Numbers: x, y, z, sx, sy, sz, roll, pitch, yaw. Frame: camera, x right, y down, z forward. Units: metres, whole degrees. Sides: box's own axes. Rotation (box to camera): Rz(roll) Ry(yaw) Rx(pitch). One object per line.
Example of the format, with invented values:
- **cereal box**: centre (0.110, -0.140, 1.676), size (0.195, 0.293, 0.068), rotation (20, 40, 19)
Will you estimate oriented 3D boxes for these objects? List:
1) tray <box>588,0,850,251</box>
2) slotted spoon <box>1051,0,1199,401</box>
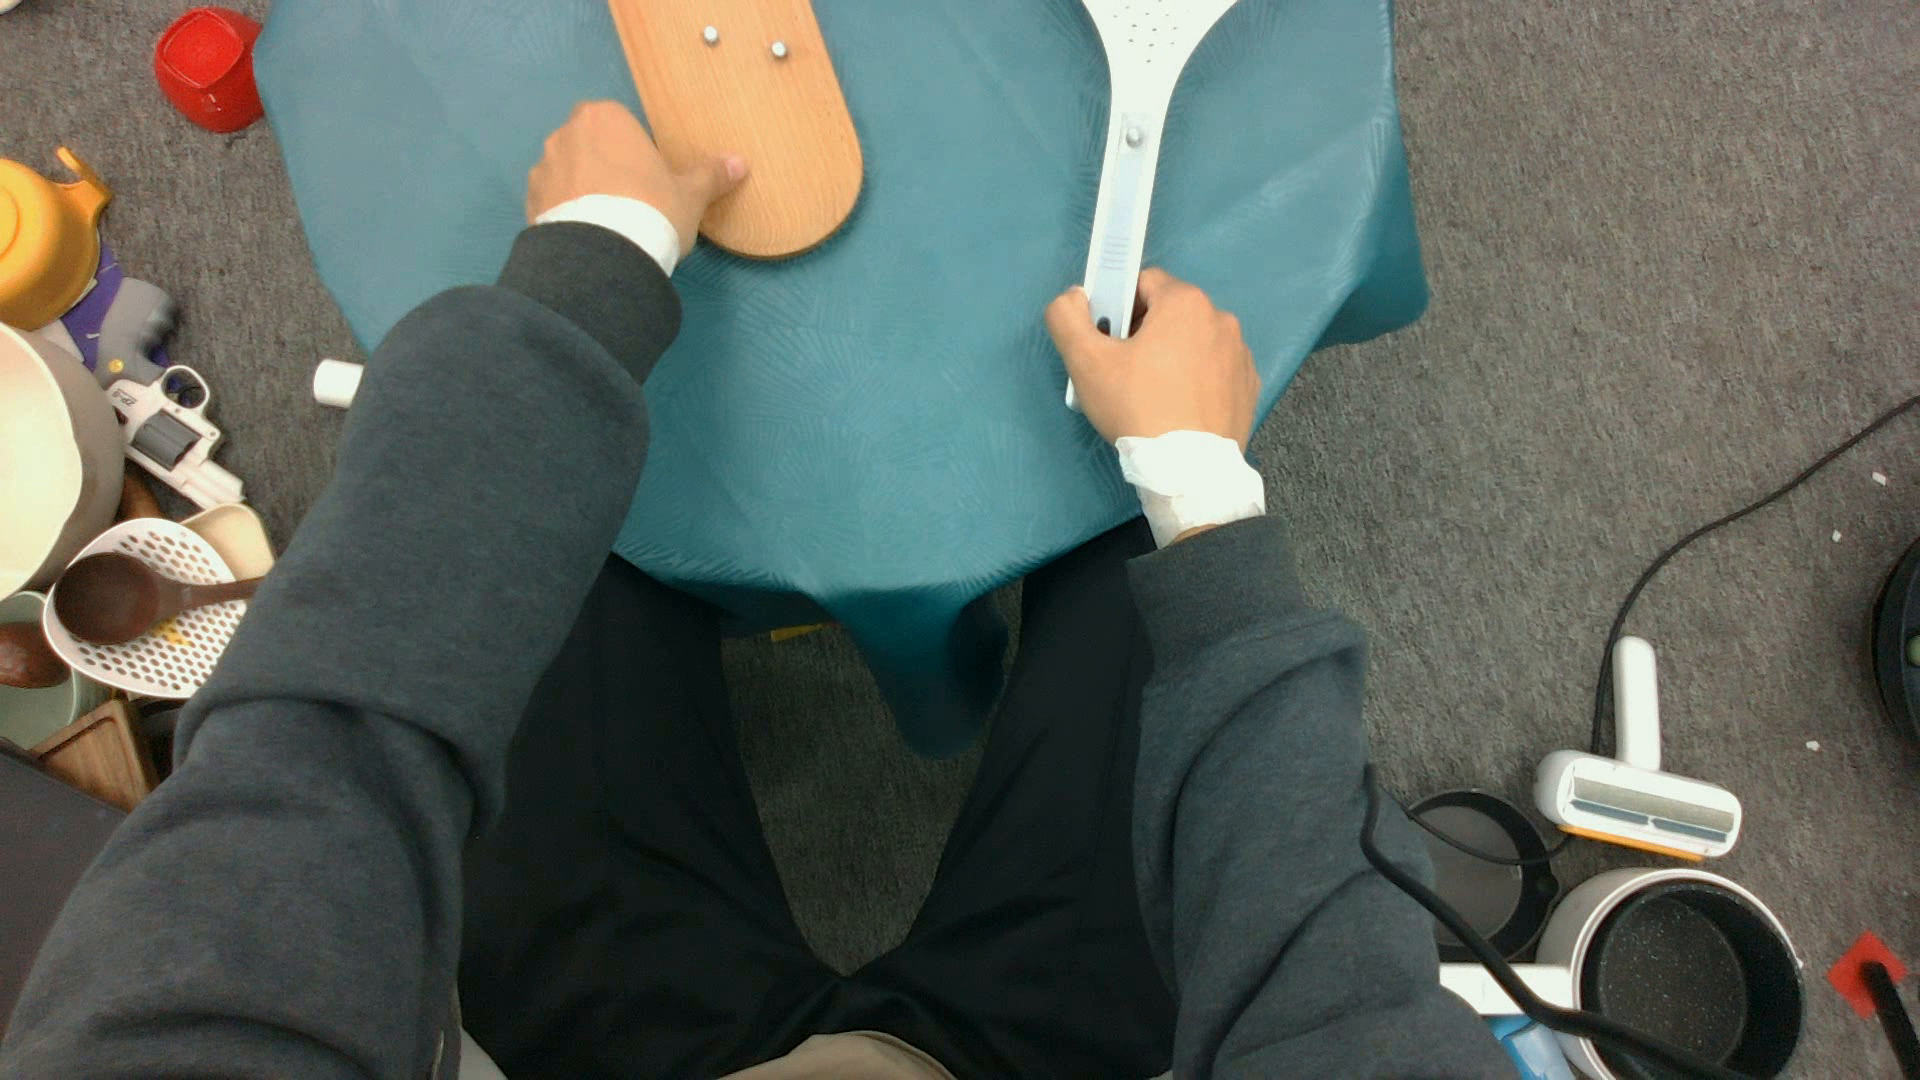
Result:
- **tray**: centre (-0.132, -0.260, 0.727), size (0.102, 0.020, 0.231), rotation (-21, 85, -6)
- **slotted spoon**: centre (0.085, -0.242, 0.714), size (0.136, 0.045, 0.350), rotation (7, 77, 12)
